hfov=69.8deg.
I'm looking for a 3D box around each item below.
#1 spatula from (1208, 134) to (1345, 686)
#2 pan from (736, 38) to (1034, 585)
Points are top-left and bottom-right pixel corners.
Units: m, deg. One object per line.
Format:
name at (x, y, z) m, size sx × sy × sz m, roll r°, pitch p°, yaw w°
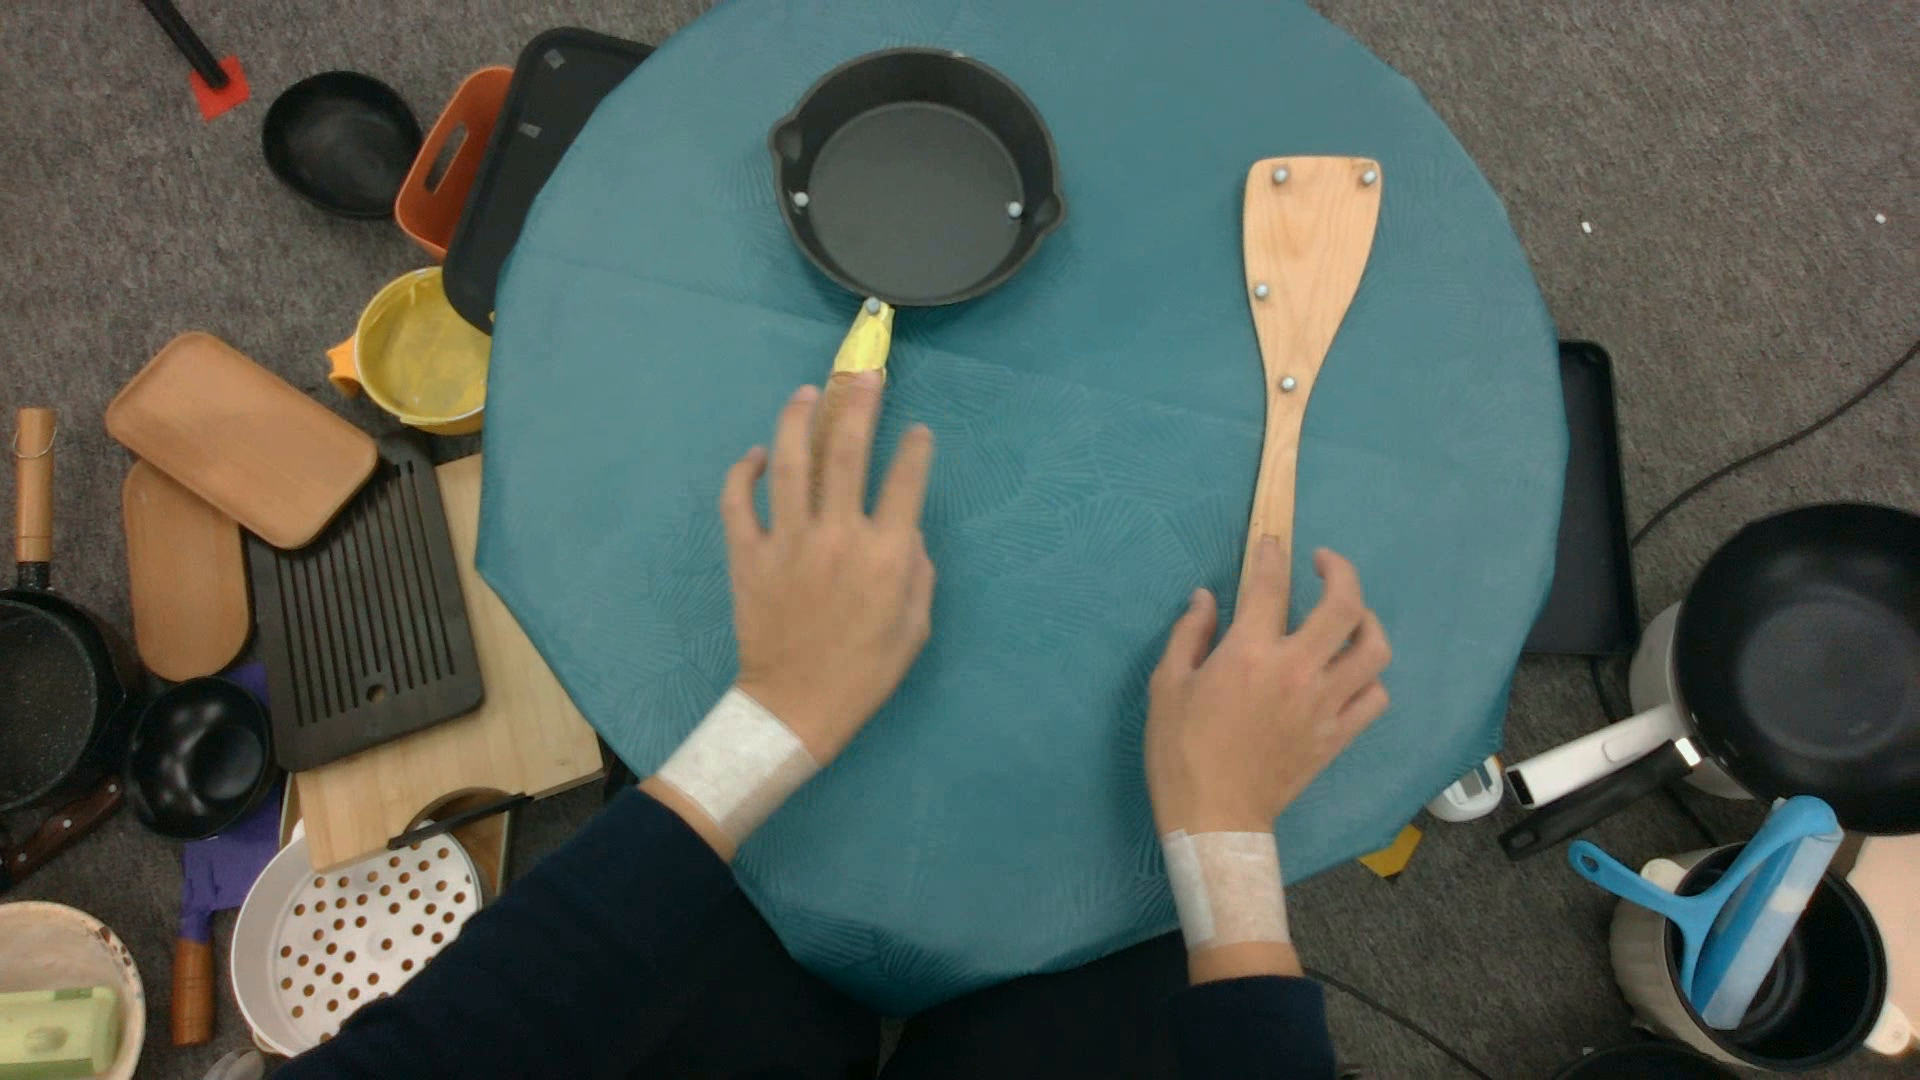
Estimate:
spatula at (0.166, -0.081, 0.763) m, size 0.080 × 0.016 × 0.328 m, roll 8°, pitch 74°, yaw -1°
pan at (-0.063, -0.127, 0.740) m, size 0.169 × 0.049 × 0.325 m, roll 15°, pitch 73°, yaw 0°
